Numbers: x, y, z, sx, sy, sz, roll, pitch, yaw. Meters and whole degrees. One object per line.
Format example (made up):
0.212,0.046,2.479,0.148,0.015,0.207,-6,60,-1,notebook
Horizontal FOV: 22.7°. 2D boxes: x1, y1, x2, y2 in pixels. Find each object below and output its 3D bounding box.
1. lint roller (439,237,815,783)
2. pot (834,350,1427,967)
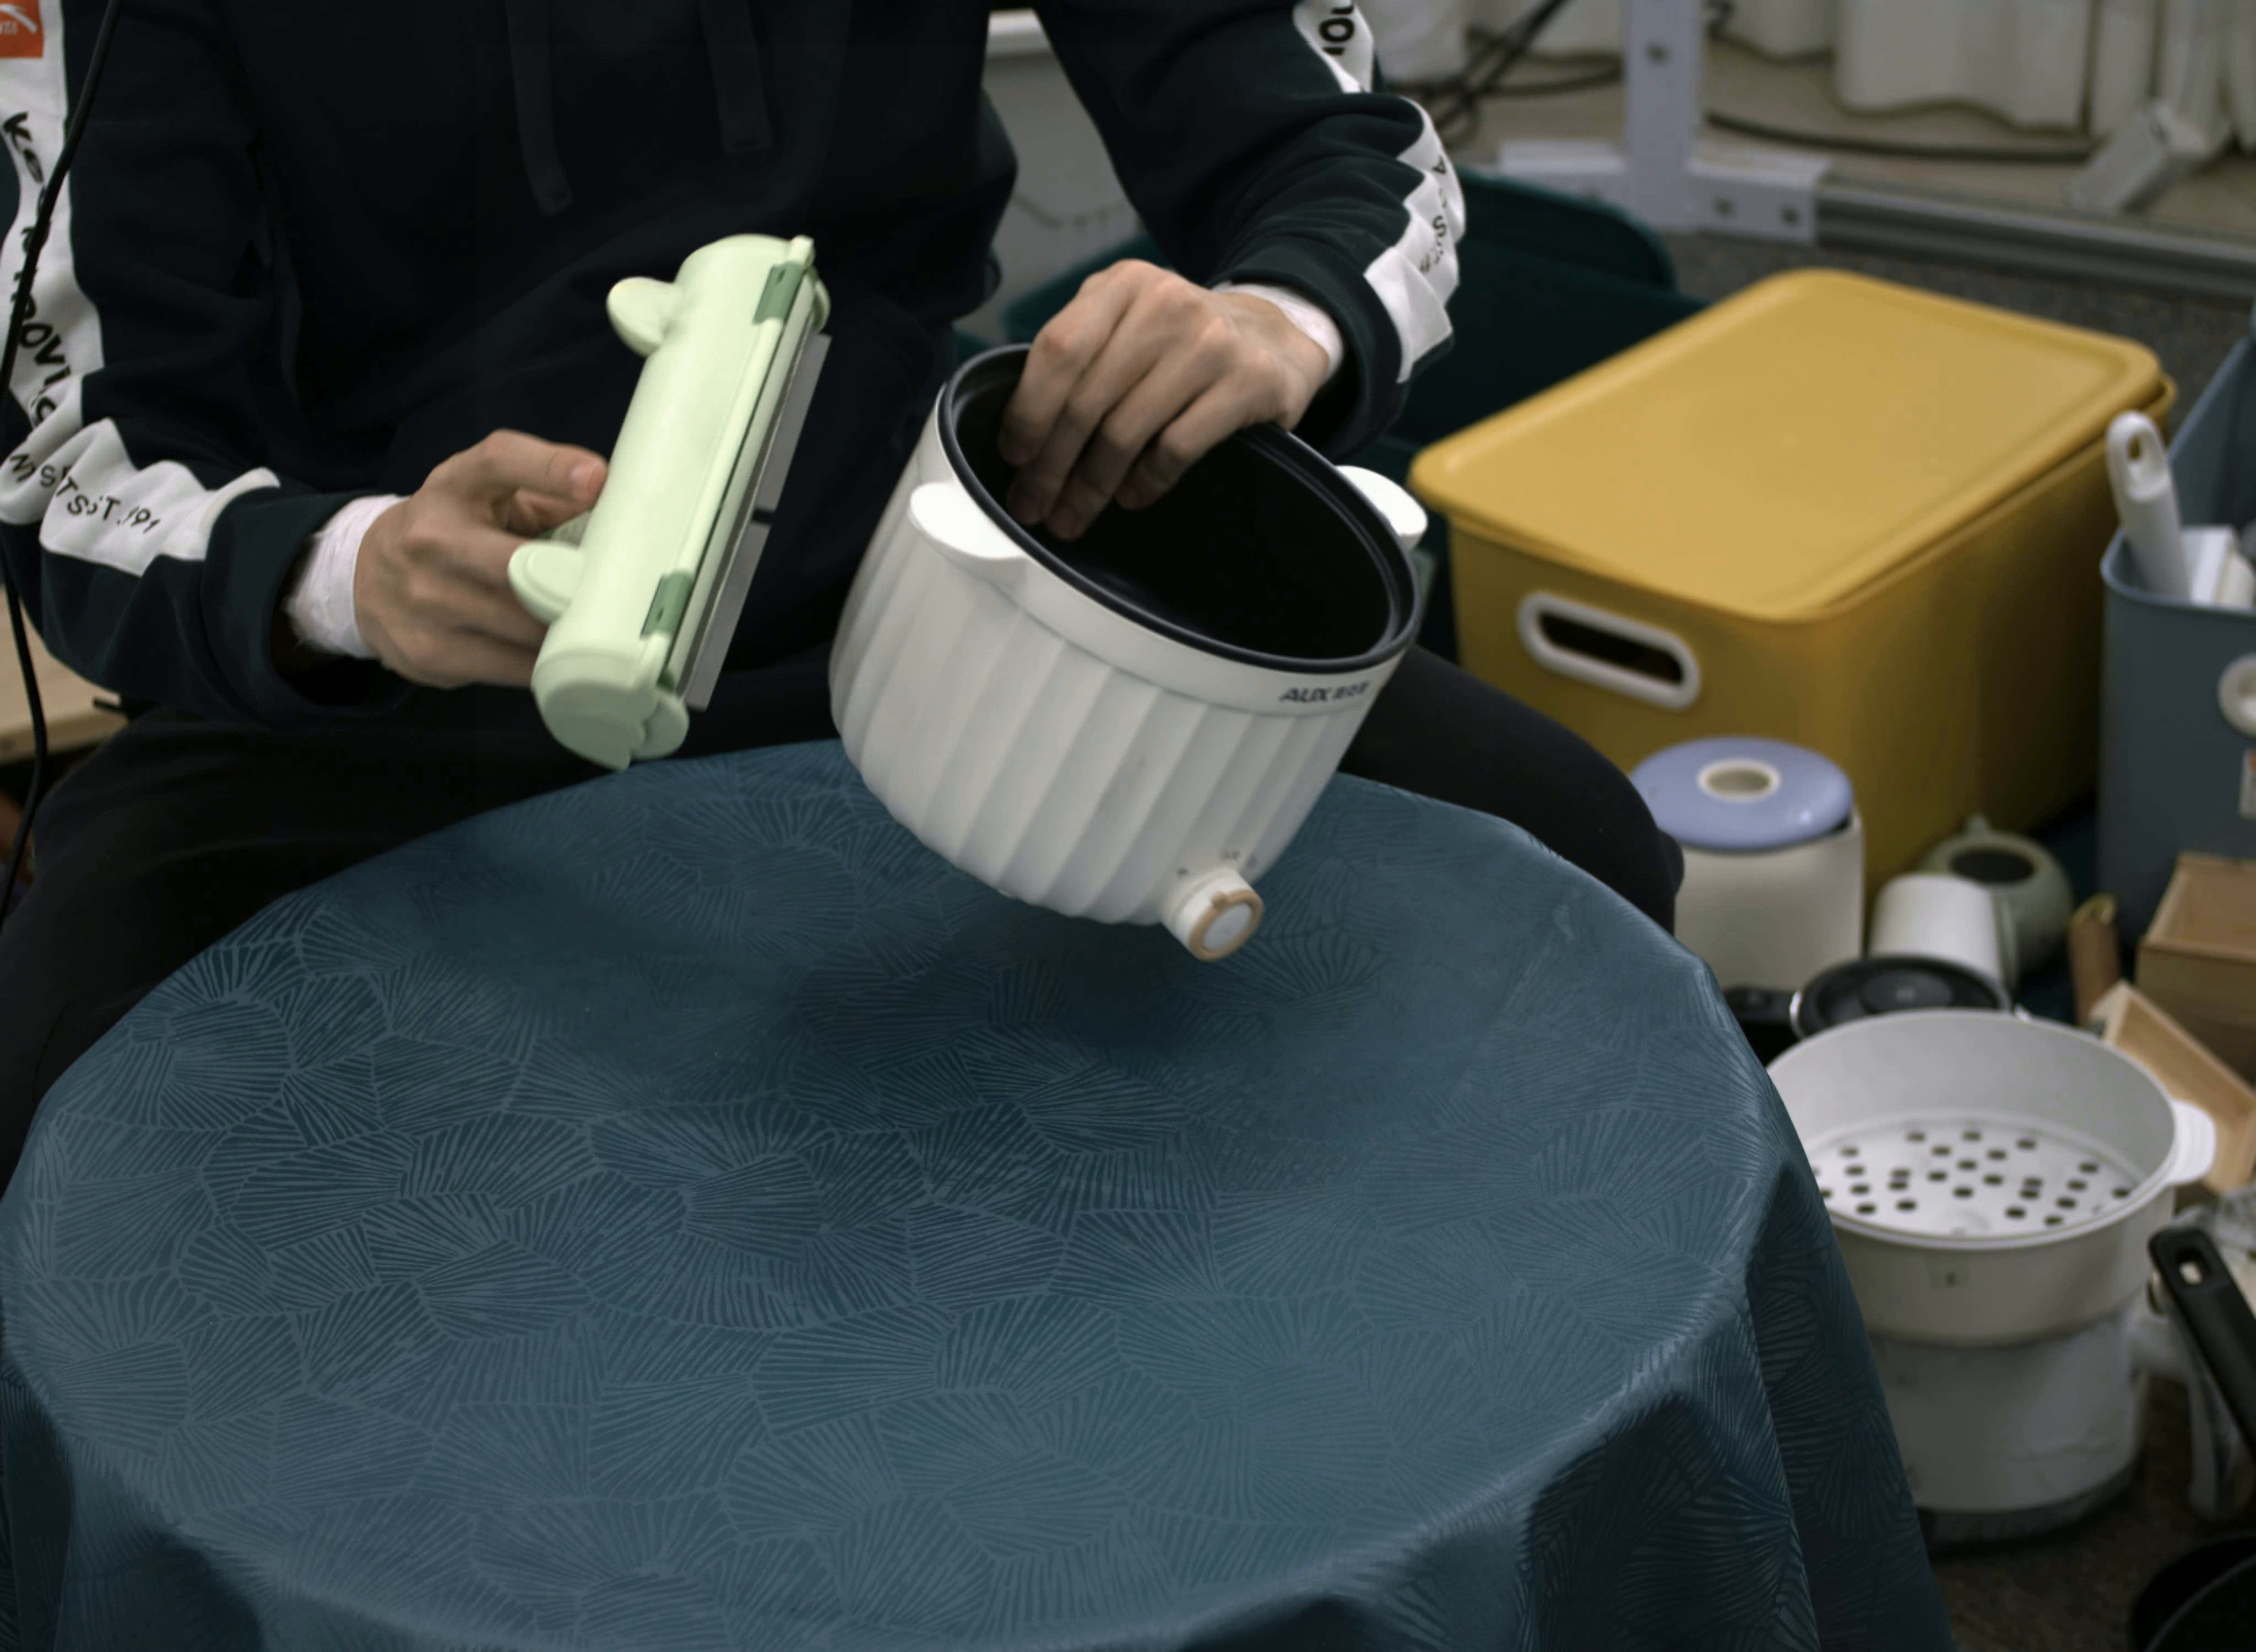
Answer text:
-0.194,-0.099,1.917,0.181,0.081,0.202,-19,44,40,lint roller
-0.003,-0.054,1.936,0.242,0.141,0.191,-7,41,-45,pot
